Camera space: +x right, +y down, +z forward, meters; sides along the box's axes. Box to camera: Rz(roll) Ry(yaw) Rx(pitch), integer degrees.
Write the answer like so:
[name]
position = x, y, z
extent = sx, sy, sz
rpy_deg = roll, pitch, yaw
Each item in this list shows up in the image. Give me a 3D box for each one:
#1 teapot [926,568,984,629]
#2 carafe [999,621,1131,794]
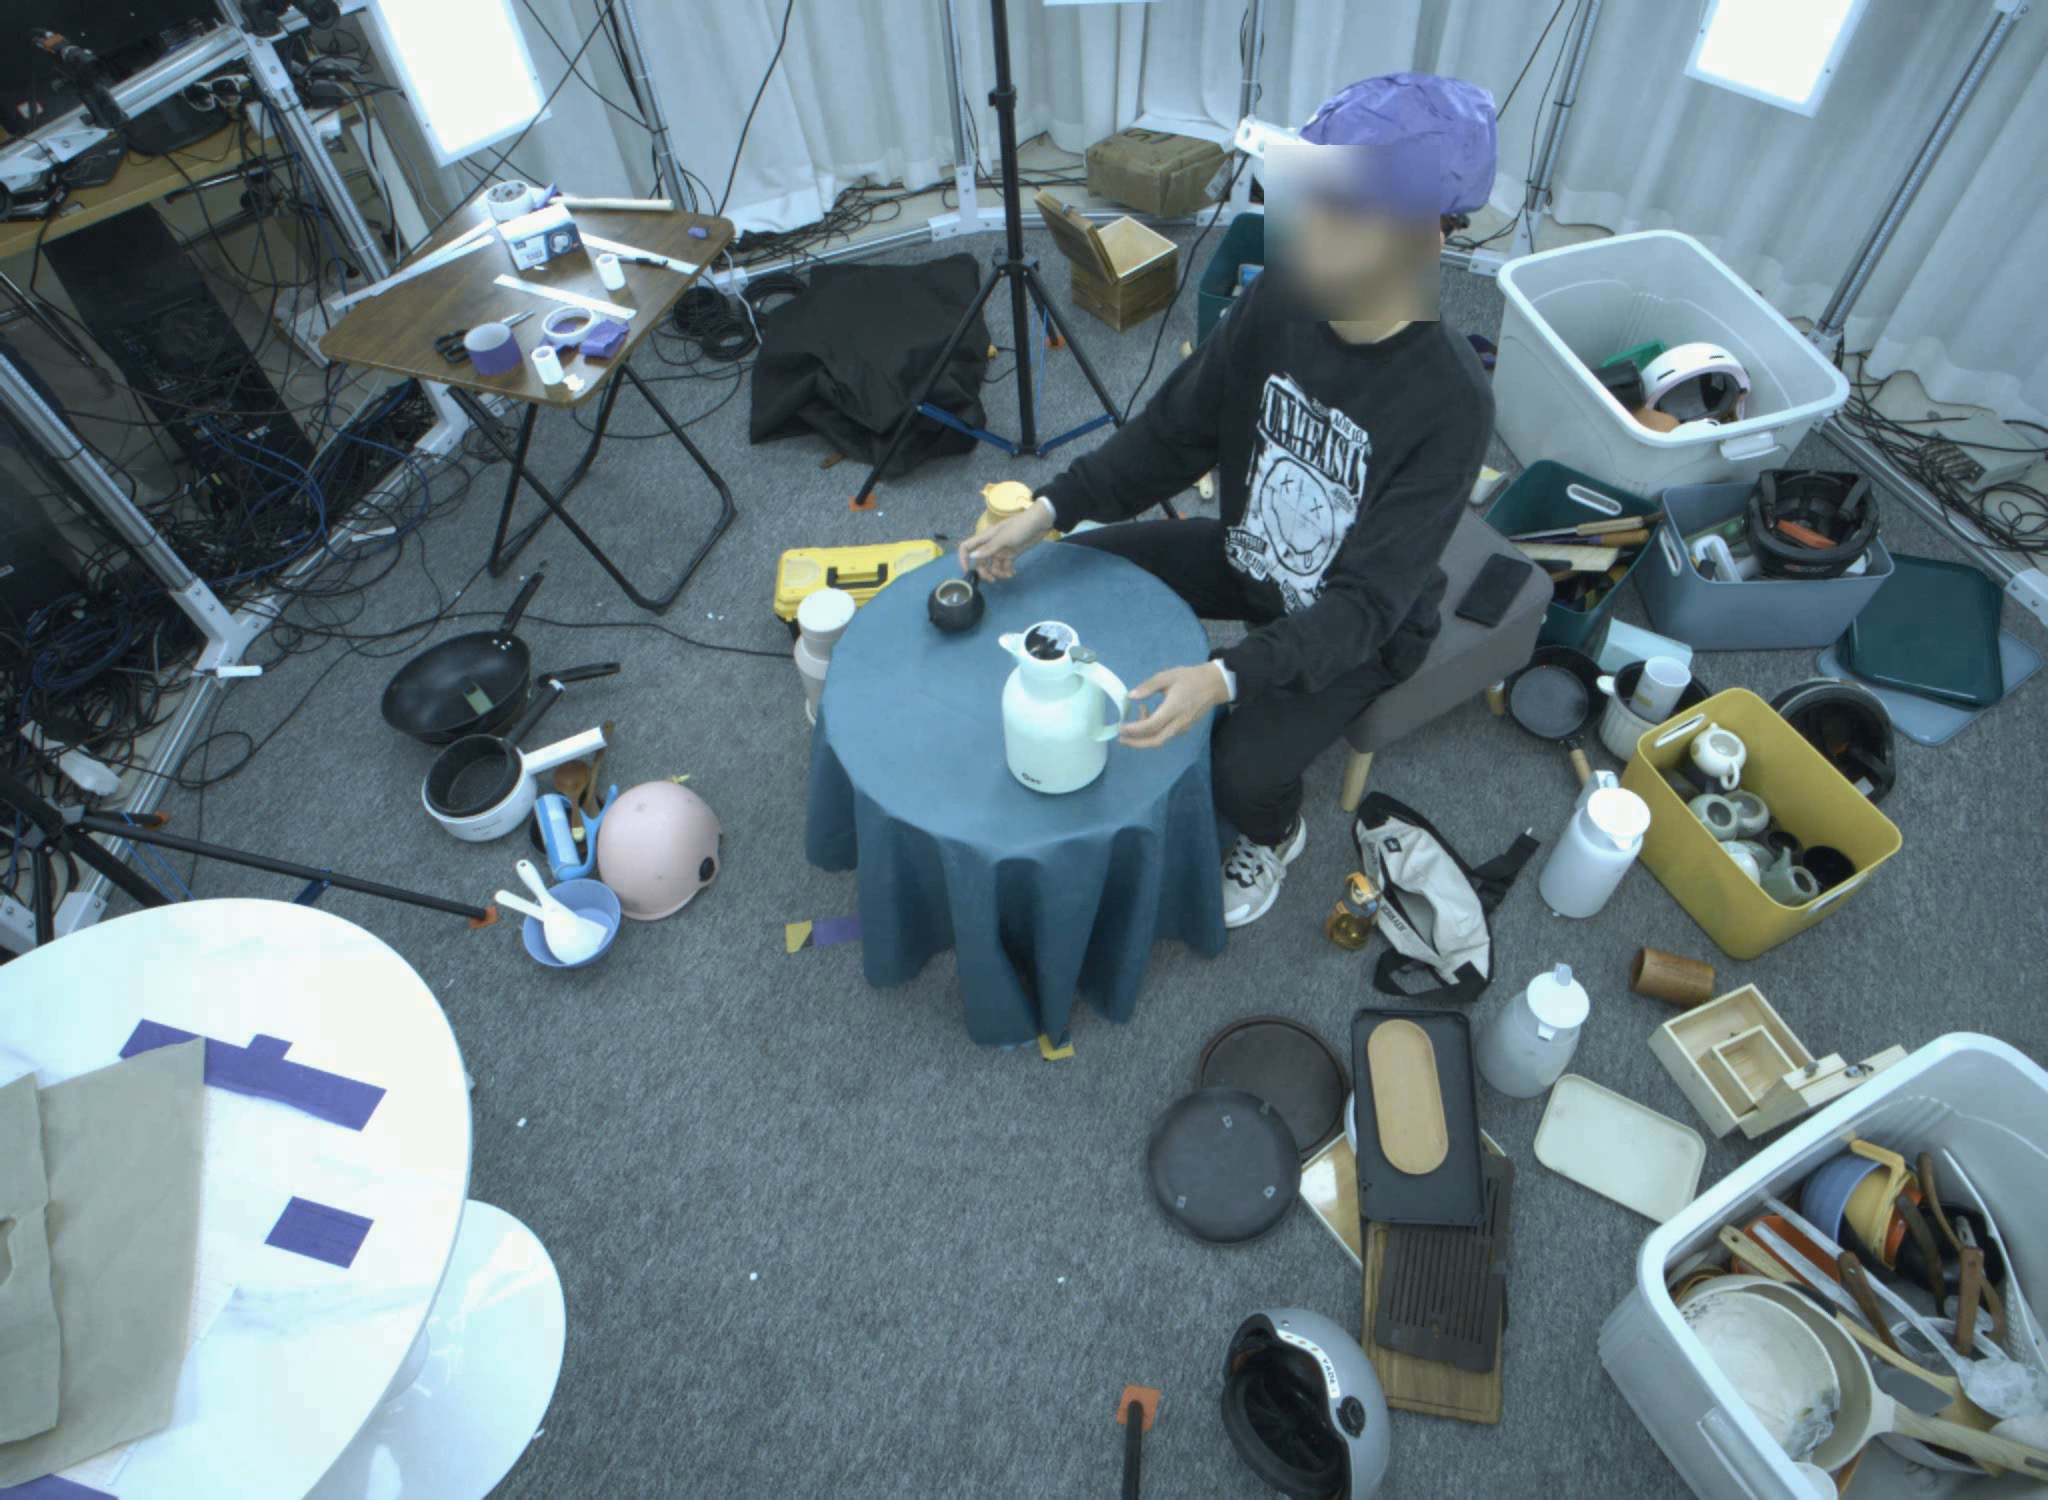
[teapot]
position = -0.109, -0.231, 1.919
extent = 0.090, 0.053, 0.133
rpy_deg = 25, 59, 17
[carafe]
position = 0.051, -0.058, 1.669
extent = 0.185, 0.259, 0.144
rpy_deg = 21, 57, 14
